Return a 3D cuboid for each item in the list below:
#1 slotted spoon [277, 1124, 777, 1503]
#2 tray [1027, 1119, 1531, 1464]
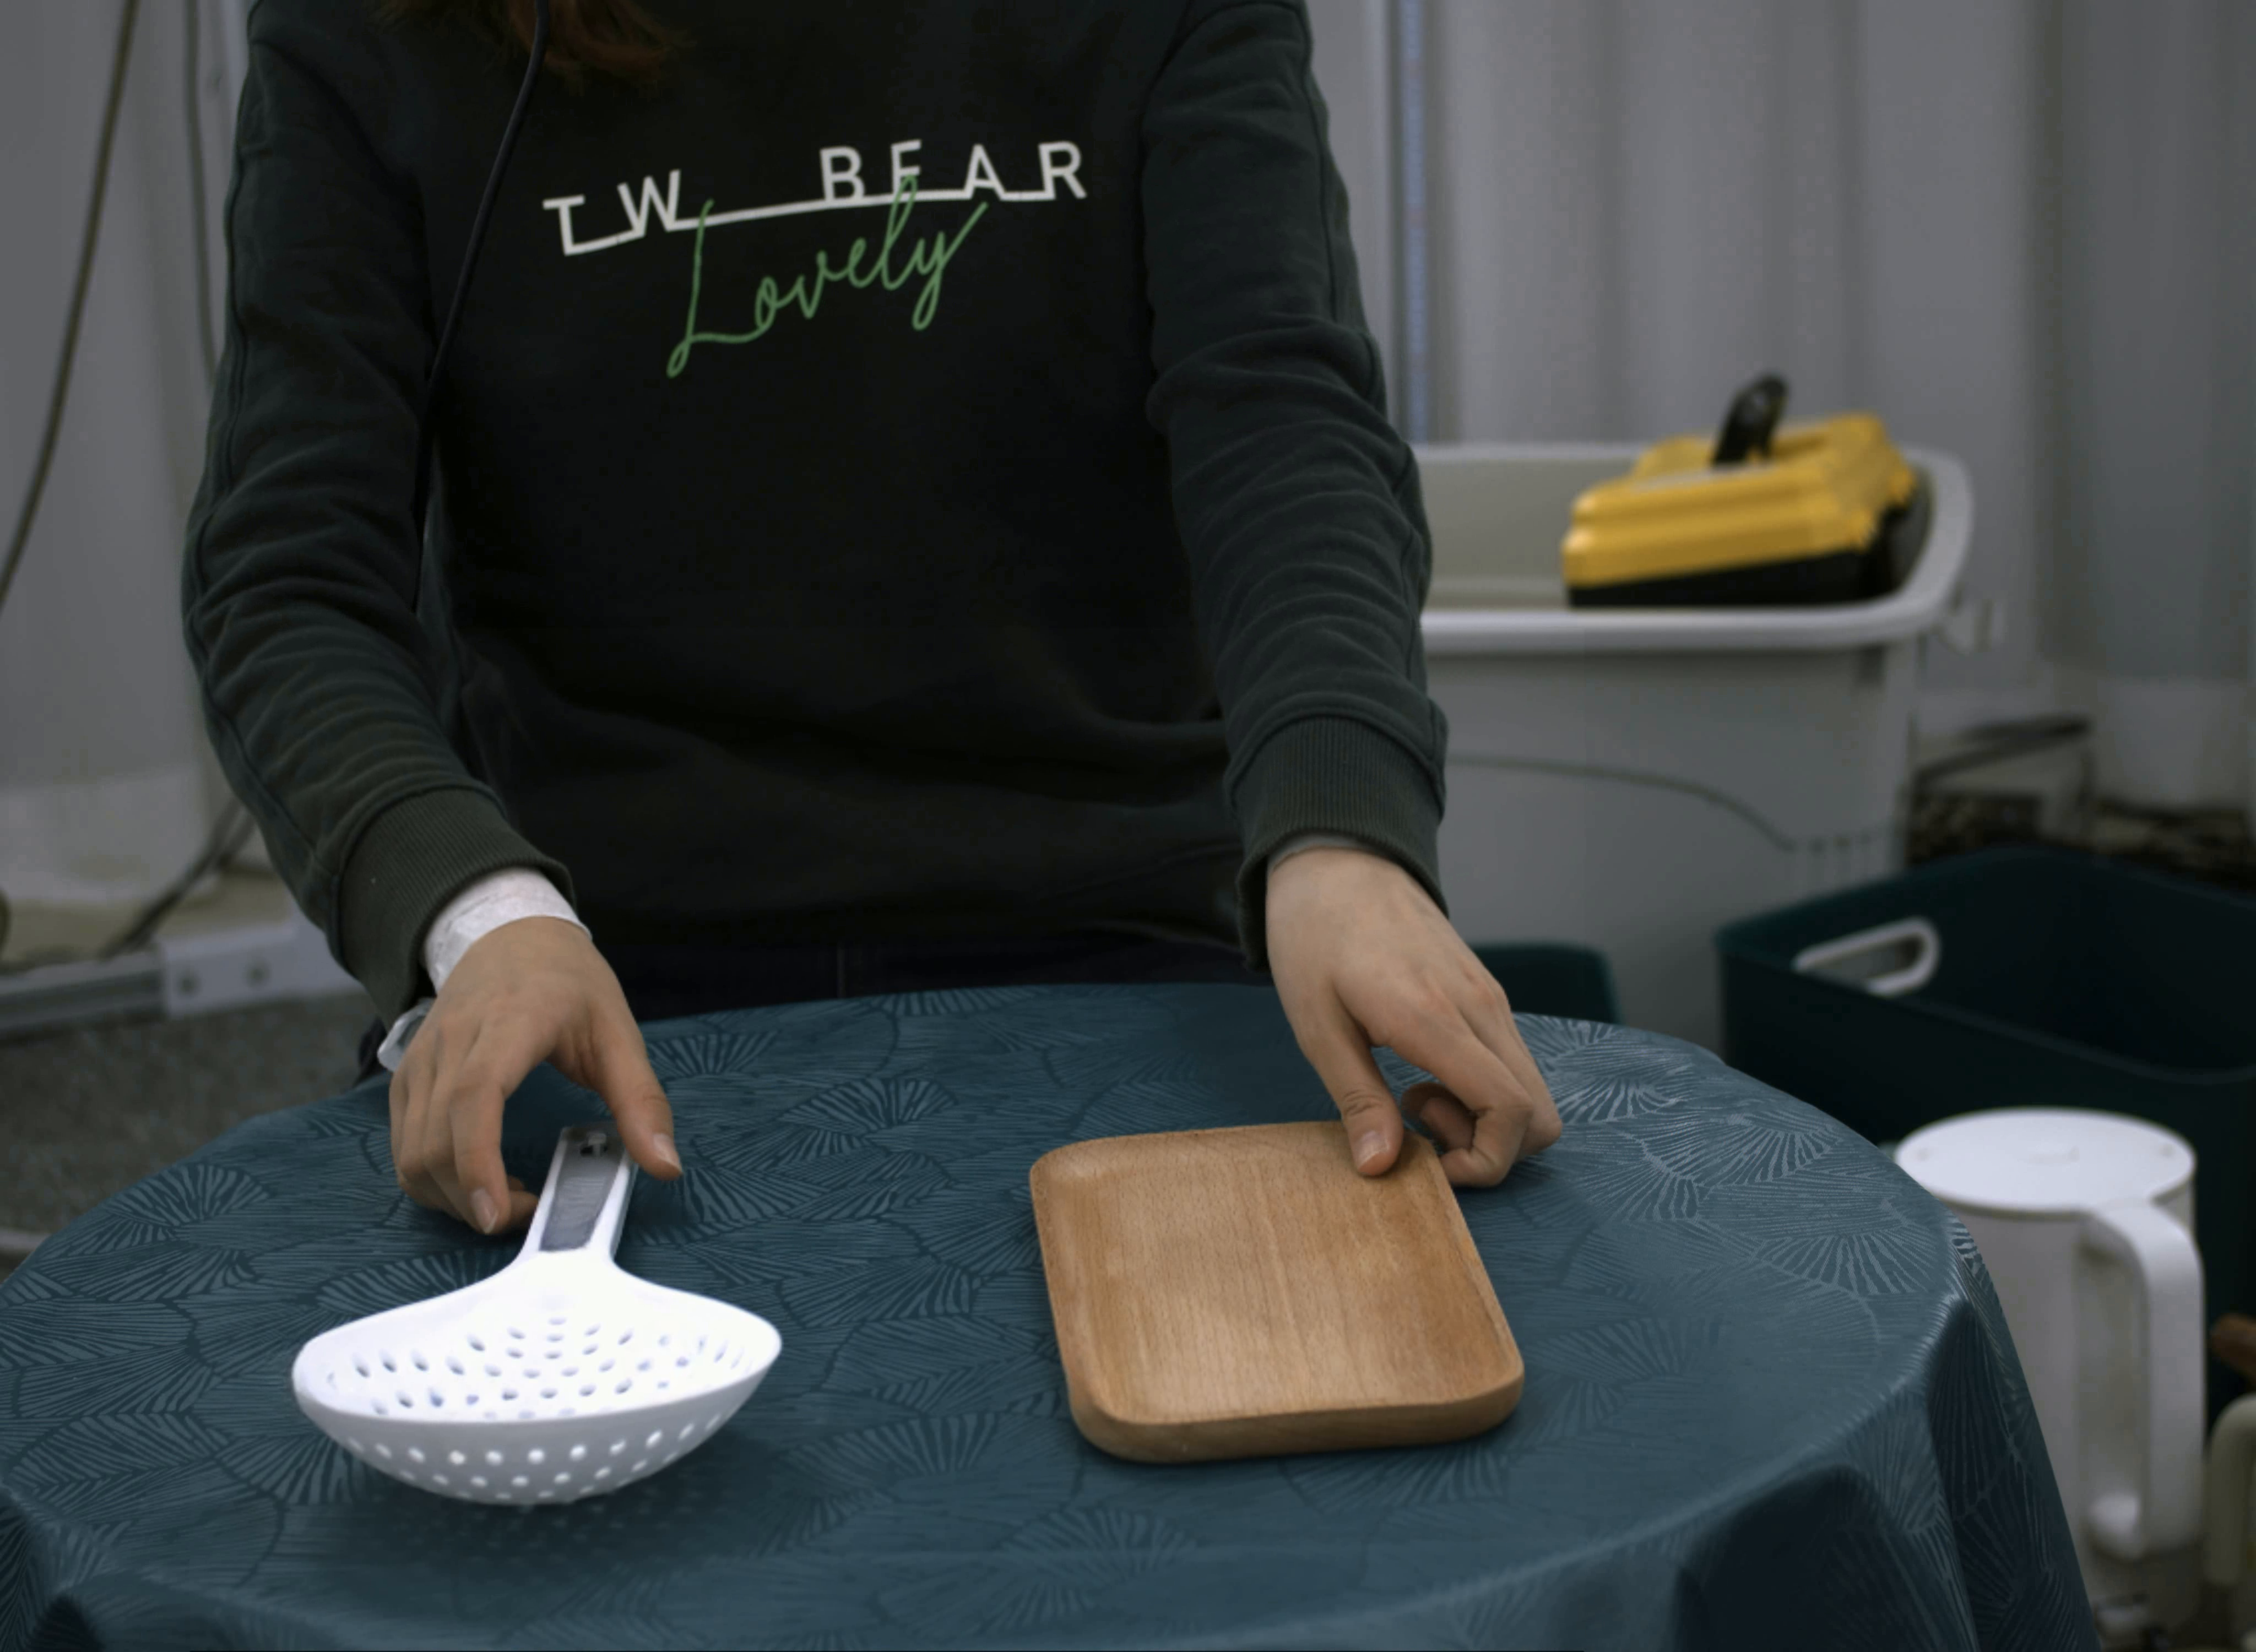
[{"bbox_3d":[-0.165,0.132,1.592,0.135,0.045,0.352,-1,14,-1],"label":"slotted spoon"},{"bbox_3d":[0.040,0.134,1.603,0.130,0.023,0.252,-2,14,-4],"label":"tray"}]
